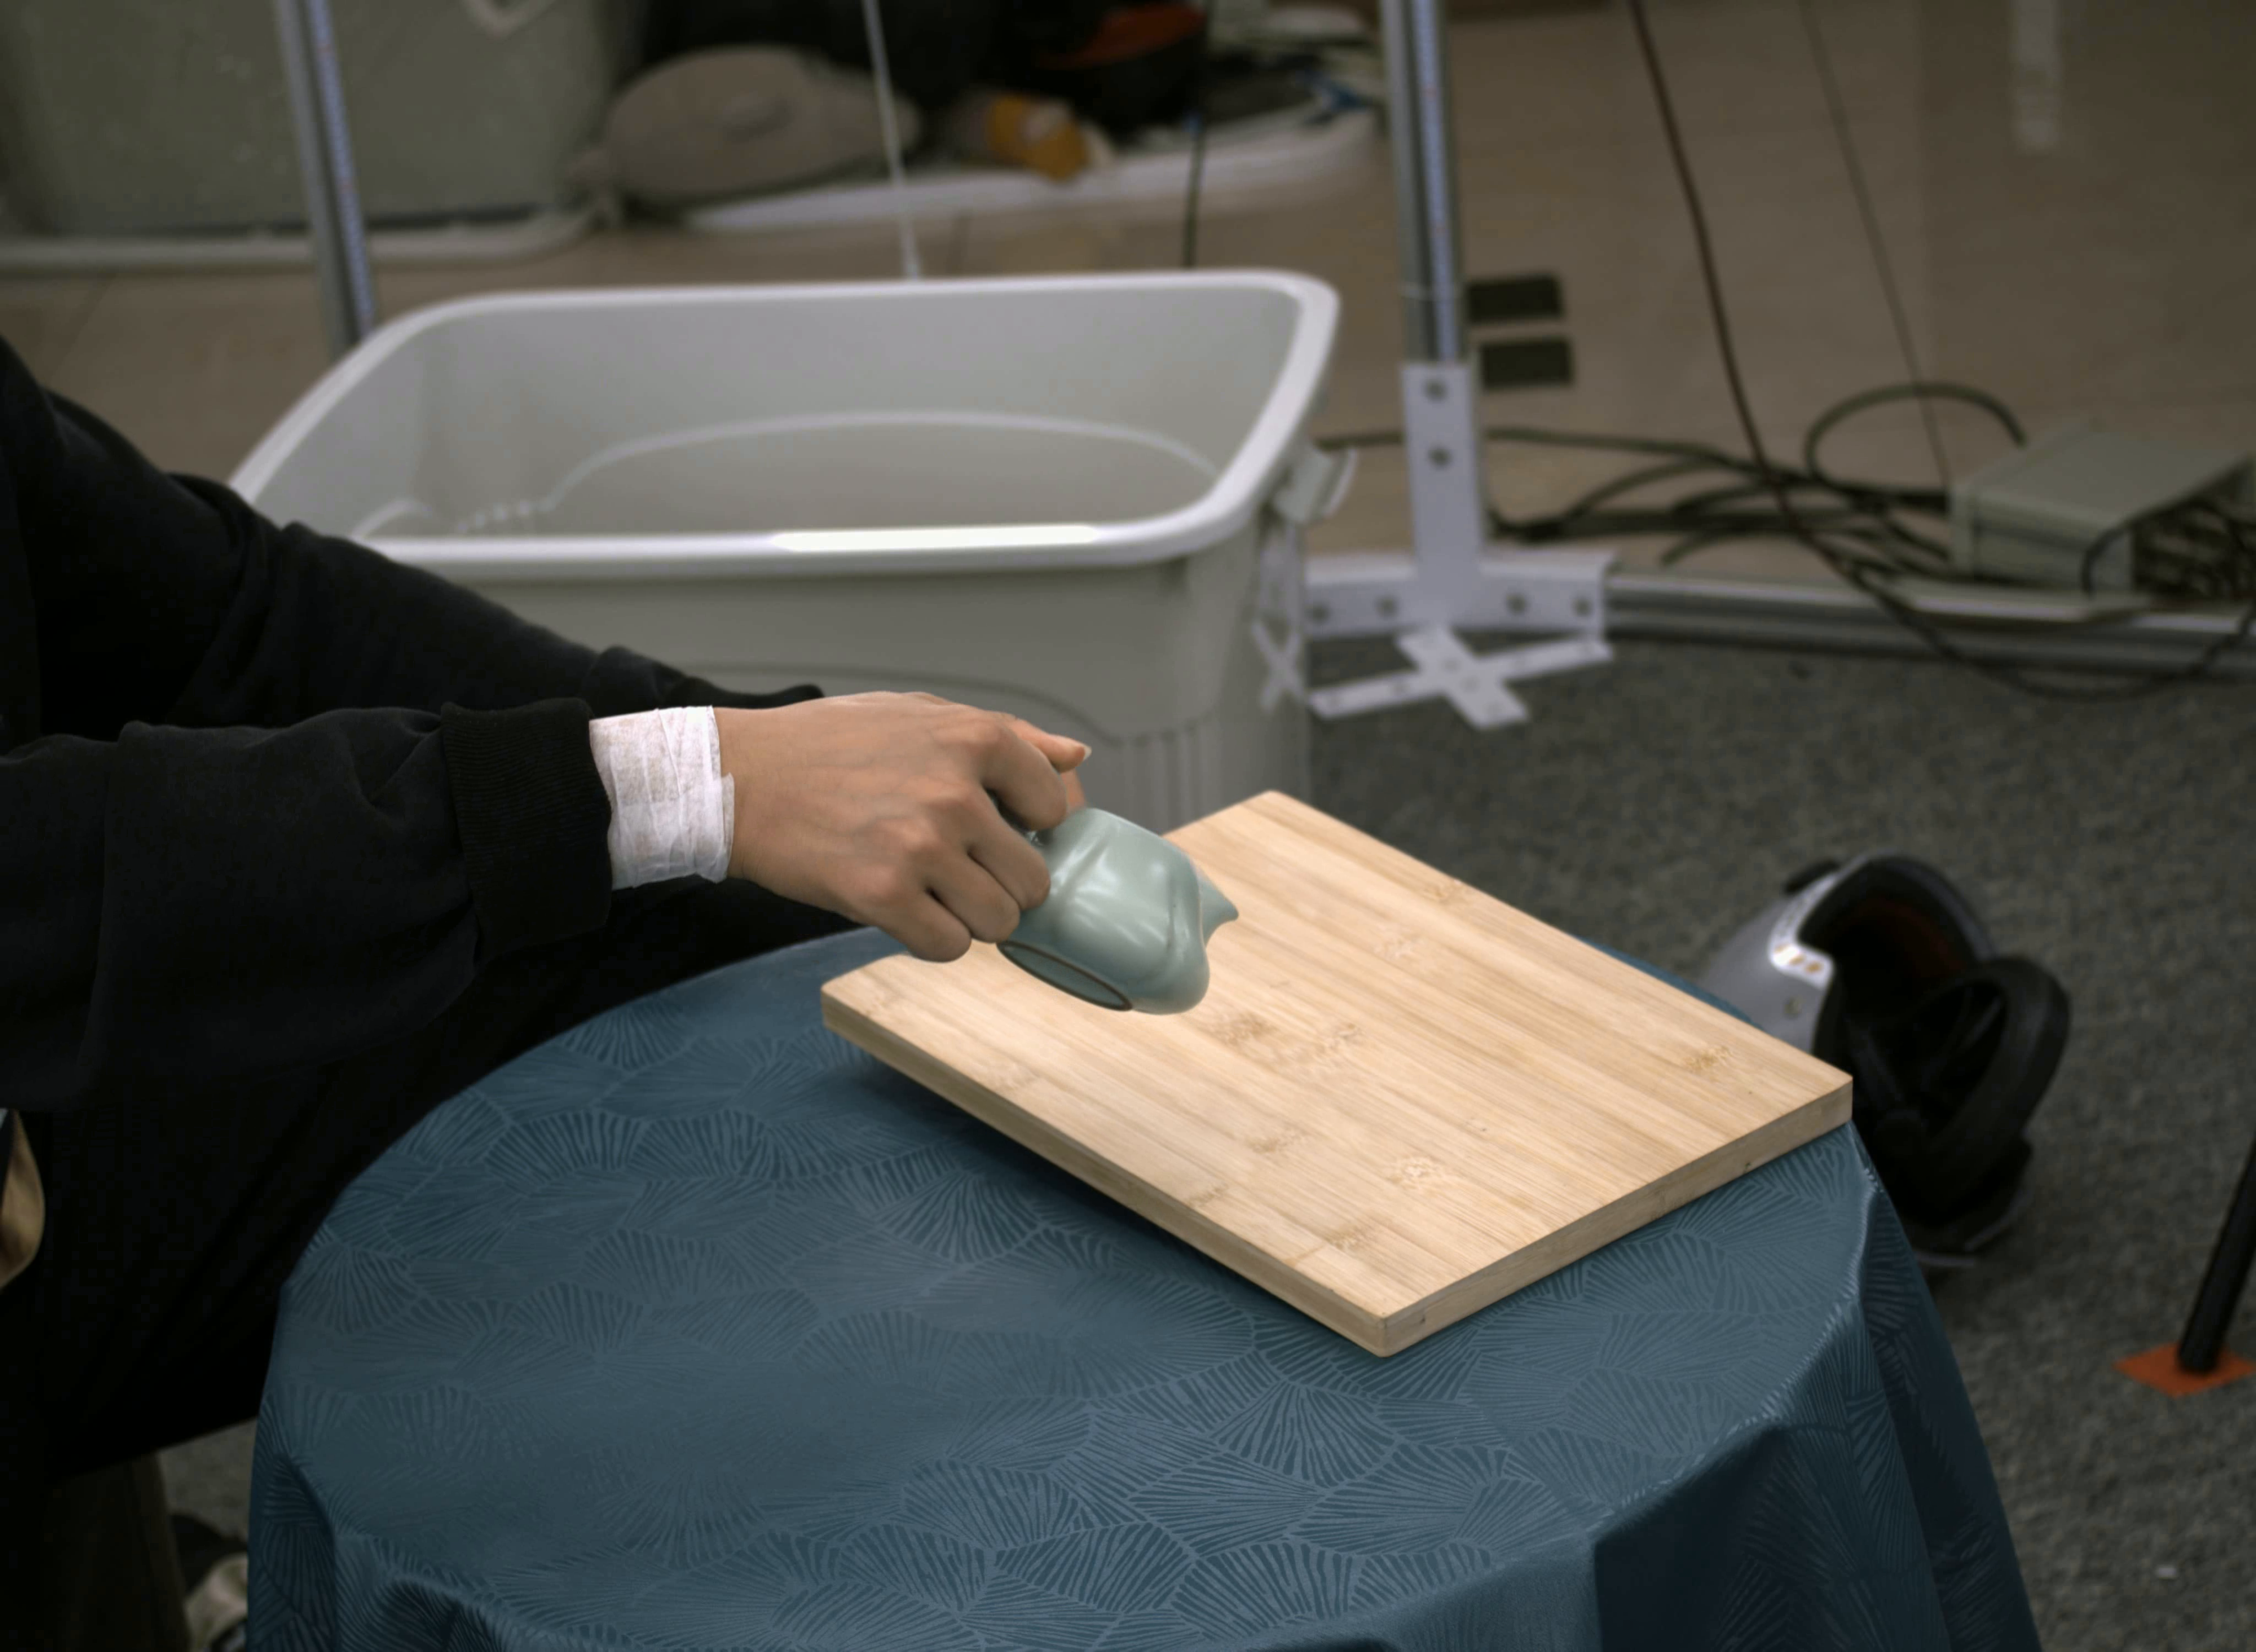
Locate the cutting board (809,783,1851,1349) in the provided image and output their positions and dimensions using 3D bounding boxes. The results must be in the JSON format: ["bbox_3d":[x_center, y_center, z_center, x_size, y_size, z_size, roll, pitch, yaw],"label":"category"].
[{"bbox_3d":[0.073,0.086,2.199,0.249,0.024,0.345,-24,34,-33],"label":"cutting board"}]

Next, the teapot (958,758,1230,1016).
[{"bbox_3d":[-0.013,0.027,2.031,0.095,0.138,0.061,16,75,43],"label":"teapot"}]
